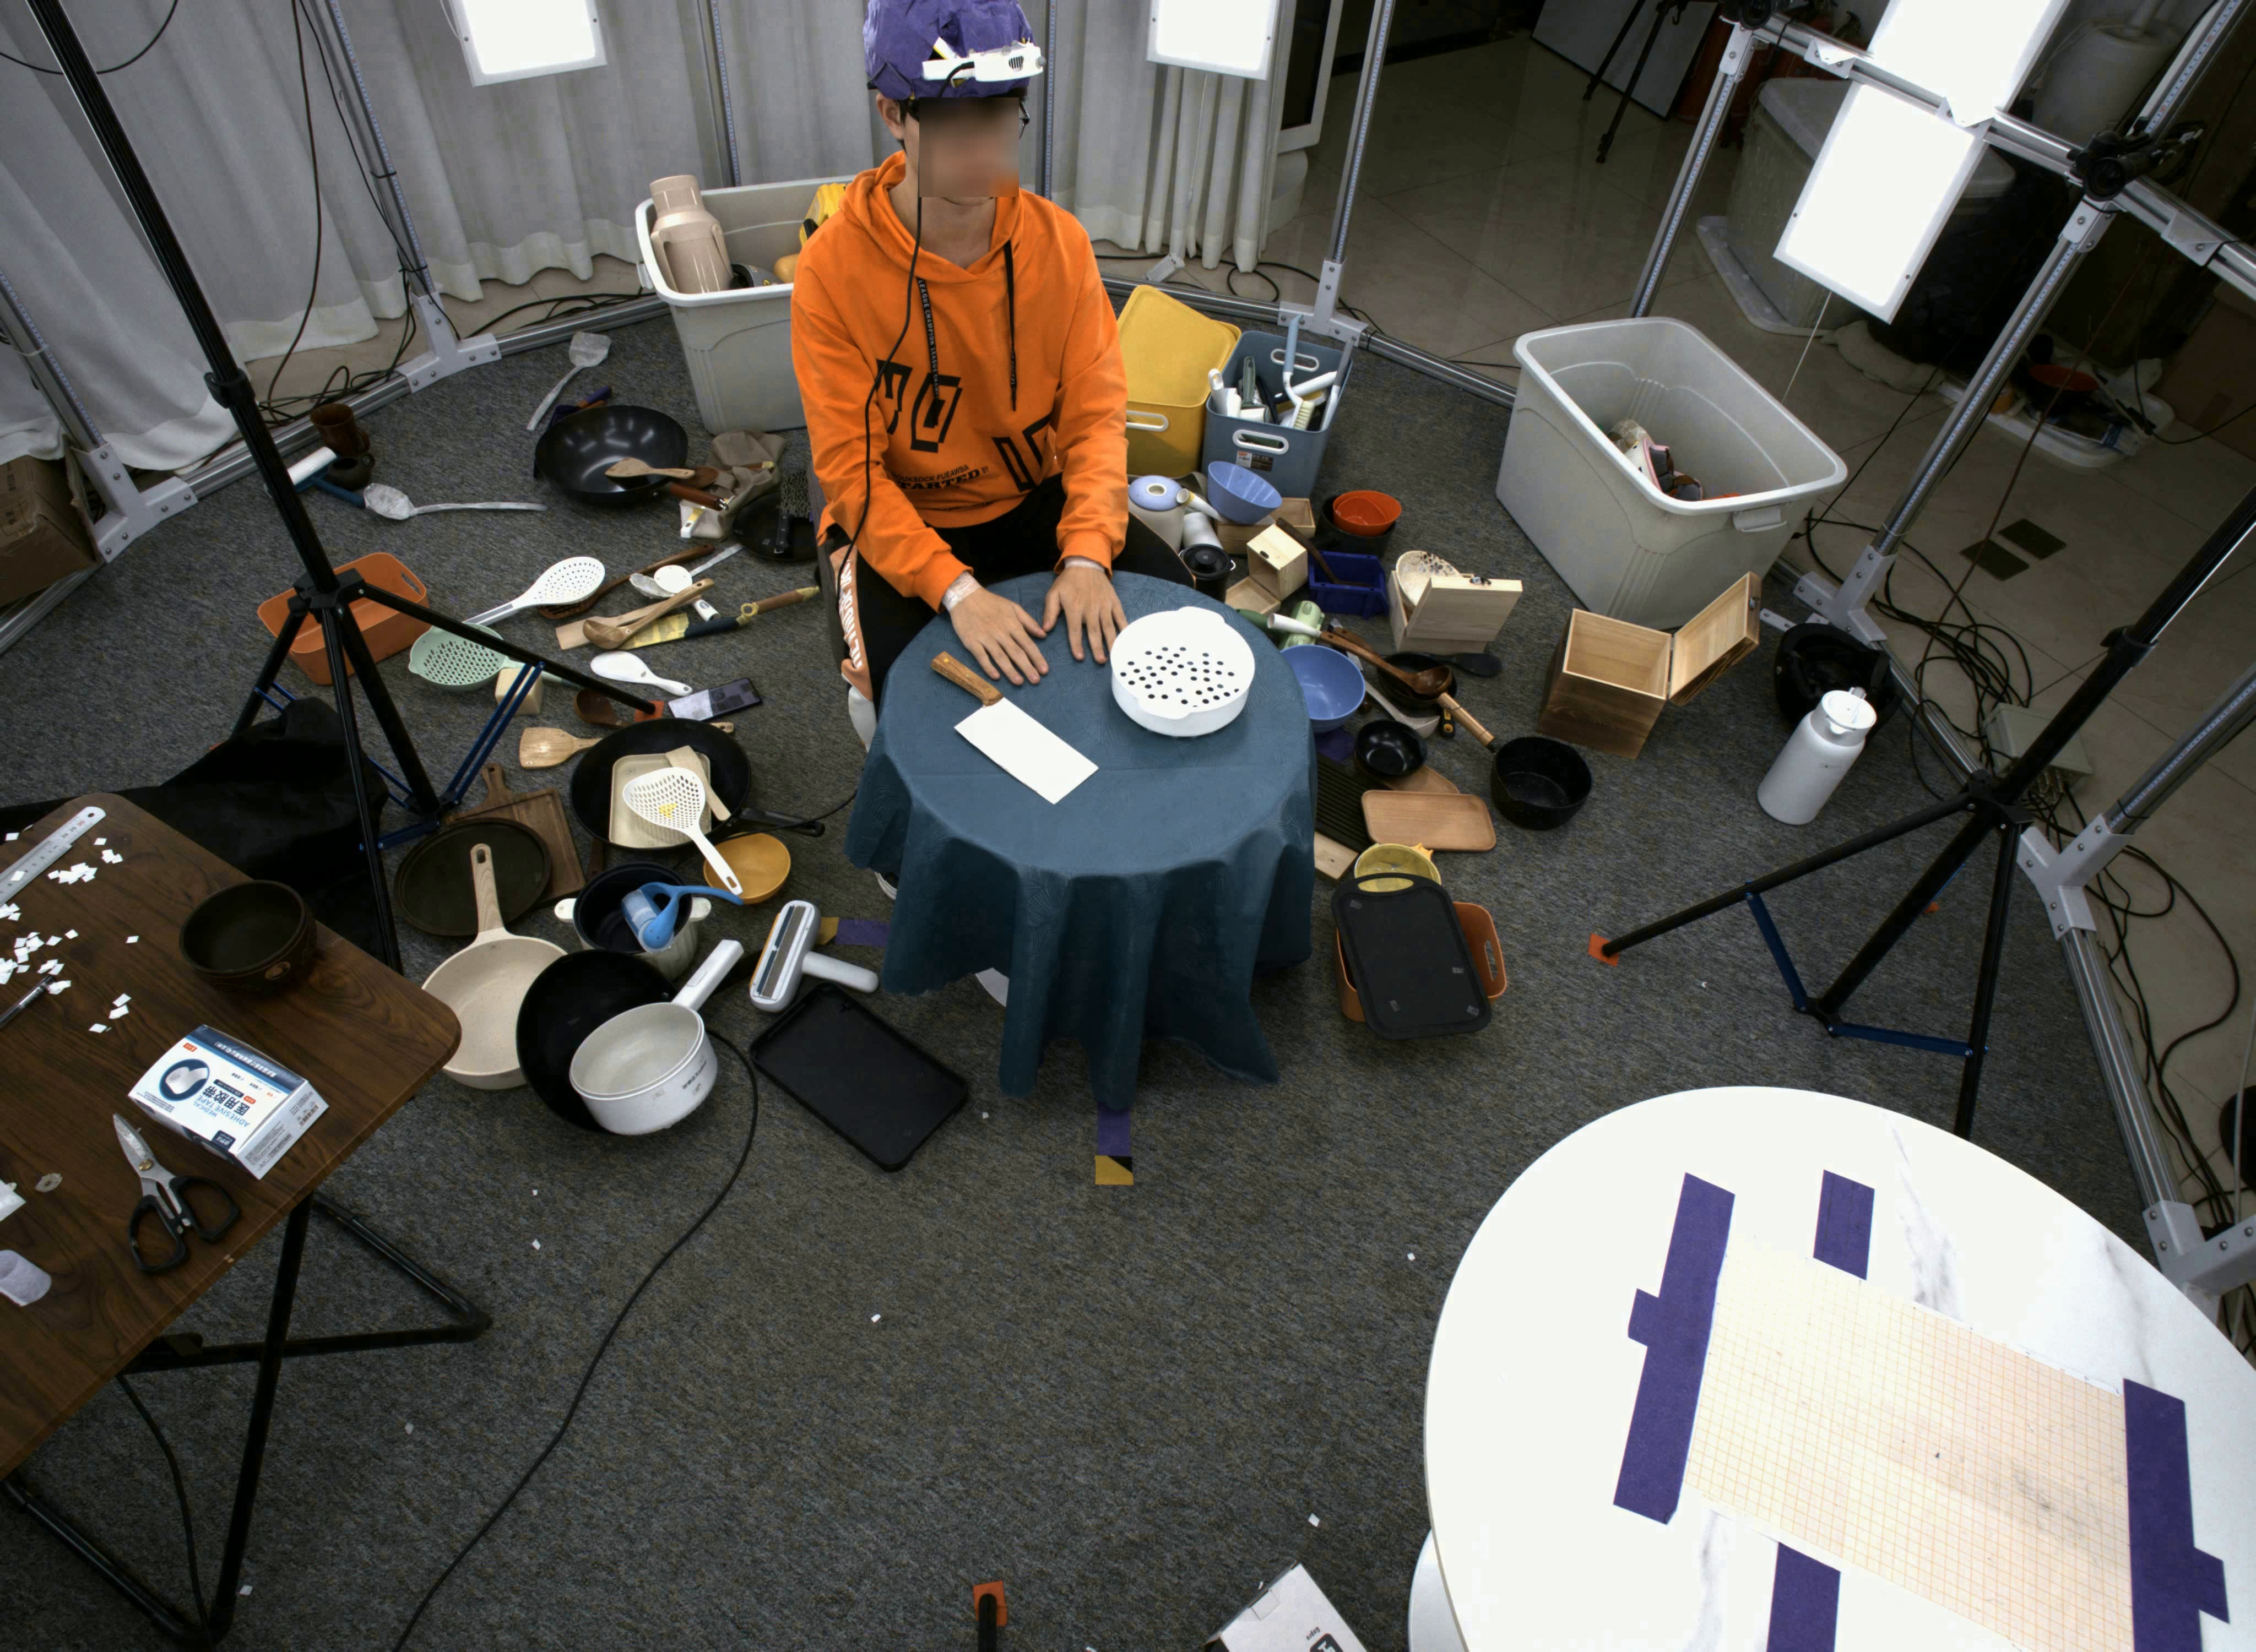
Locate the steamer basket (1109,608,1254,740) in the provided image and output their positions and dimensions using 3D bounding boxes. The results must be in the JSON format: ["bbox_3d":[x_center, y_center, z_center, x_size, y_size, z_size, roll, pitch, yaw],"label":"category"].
[{"bbox_3d":[0.074,-0.210,1.812,0.202,0.067,0.235,15,51,10],"label":"steamer basket"}]

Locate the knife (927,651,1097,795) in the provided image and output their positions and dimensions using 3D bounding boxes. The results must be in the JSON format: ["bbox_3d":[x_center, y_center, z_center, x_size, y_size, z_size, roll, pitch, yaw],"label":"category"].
[{"bbox_3d":[-0.180,-0.140,1.768,0.310,0.020,0.094,37,58,23],"label":"knife"}]
